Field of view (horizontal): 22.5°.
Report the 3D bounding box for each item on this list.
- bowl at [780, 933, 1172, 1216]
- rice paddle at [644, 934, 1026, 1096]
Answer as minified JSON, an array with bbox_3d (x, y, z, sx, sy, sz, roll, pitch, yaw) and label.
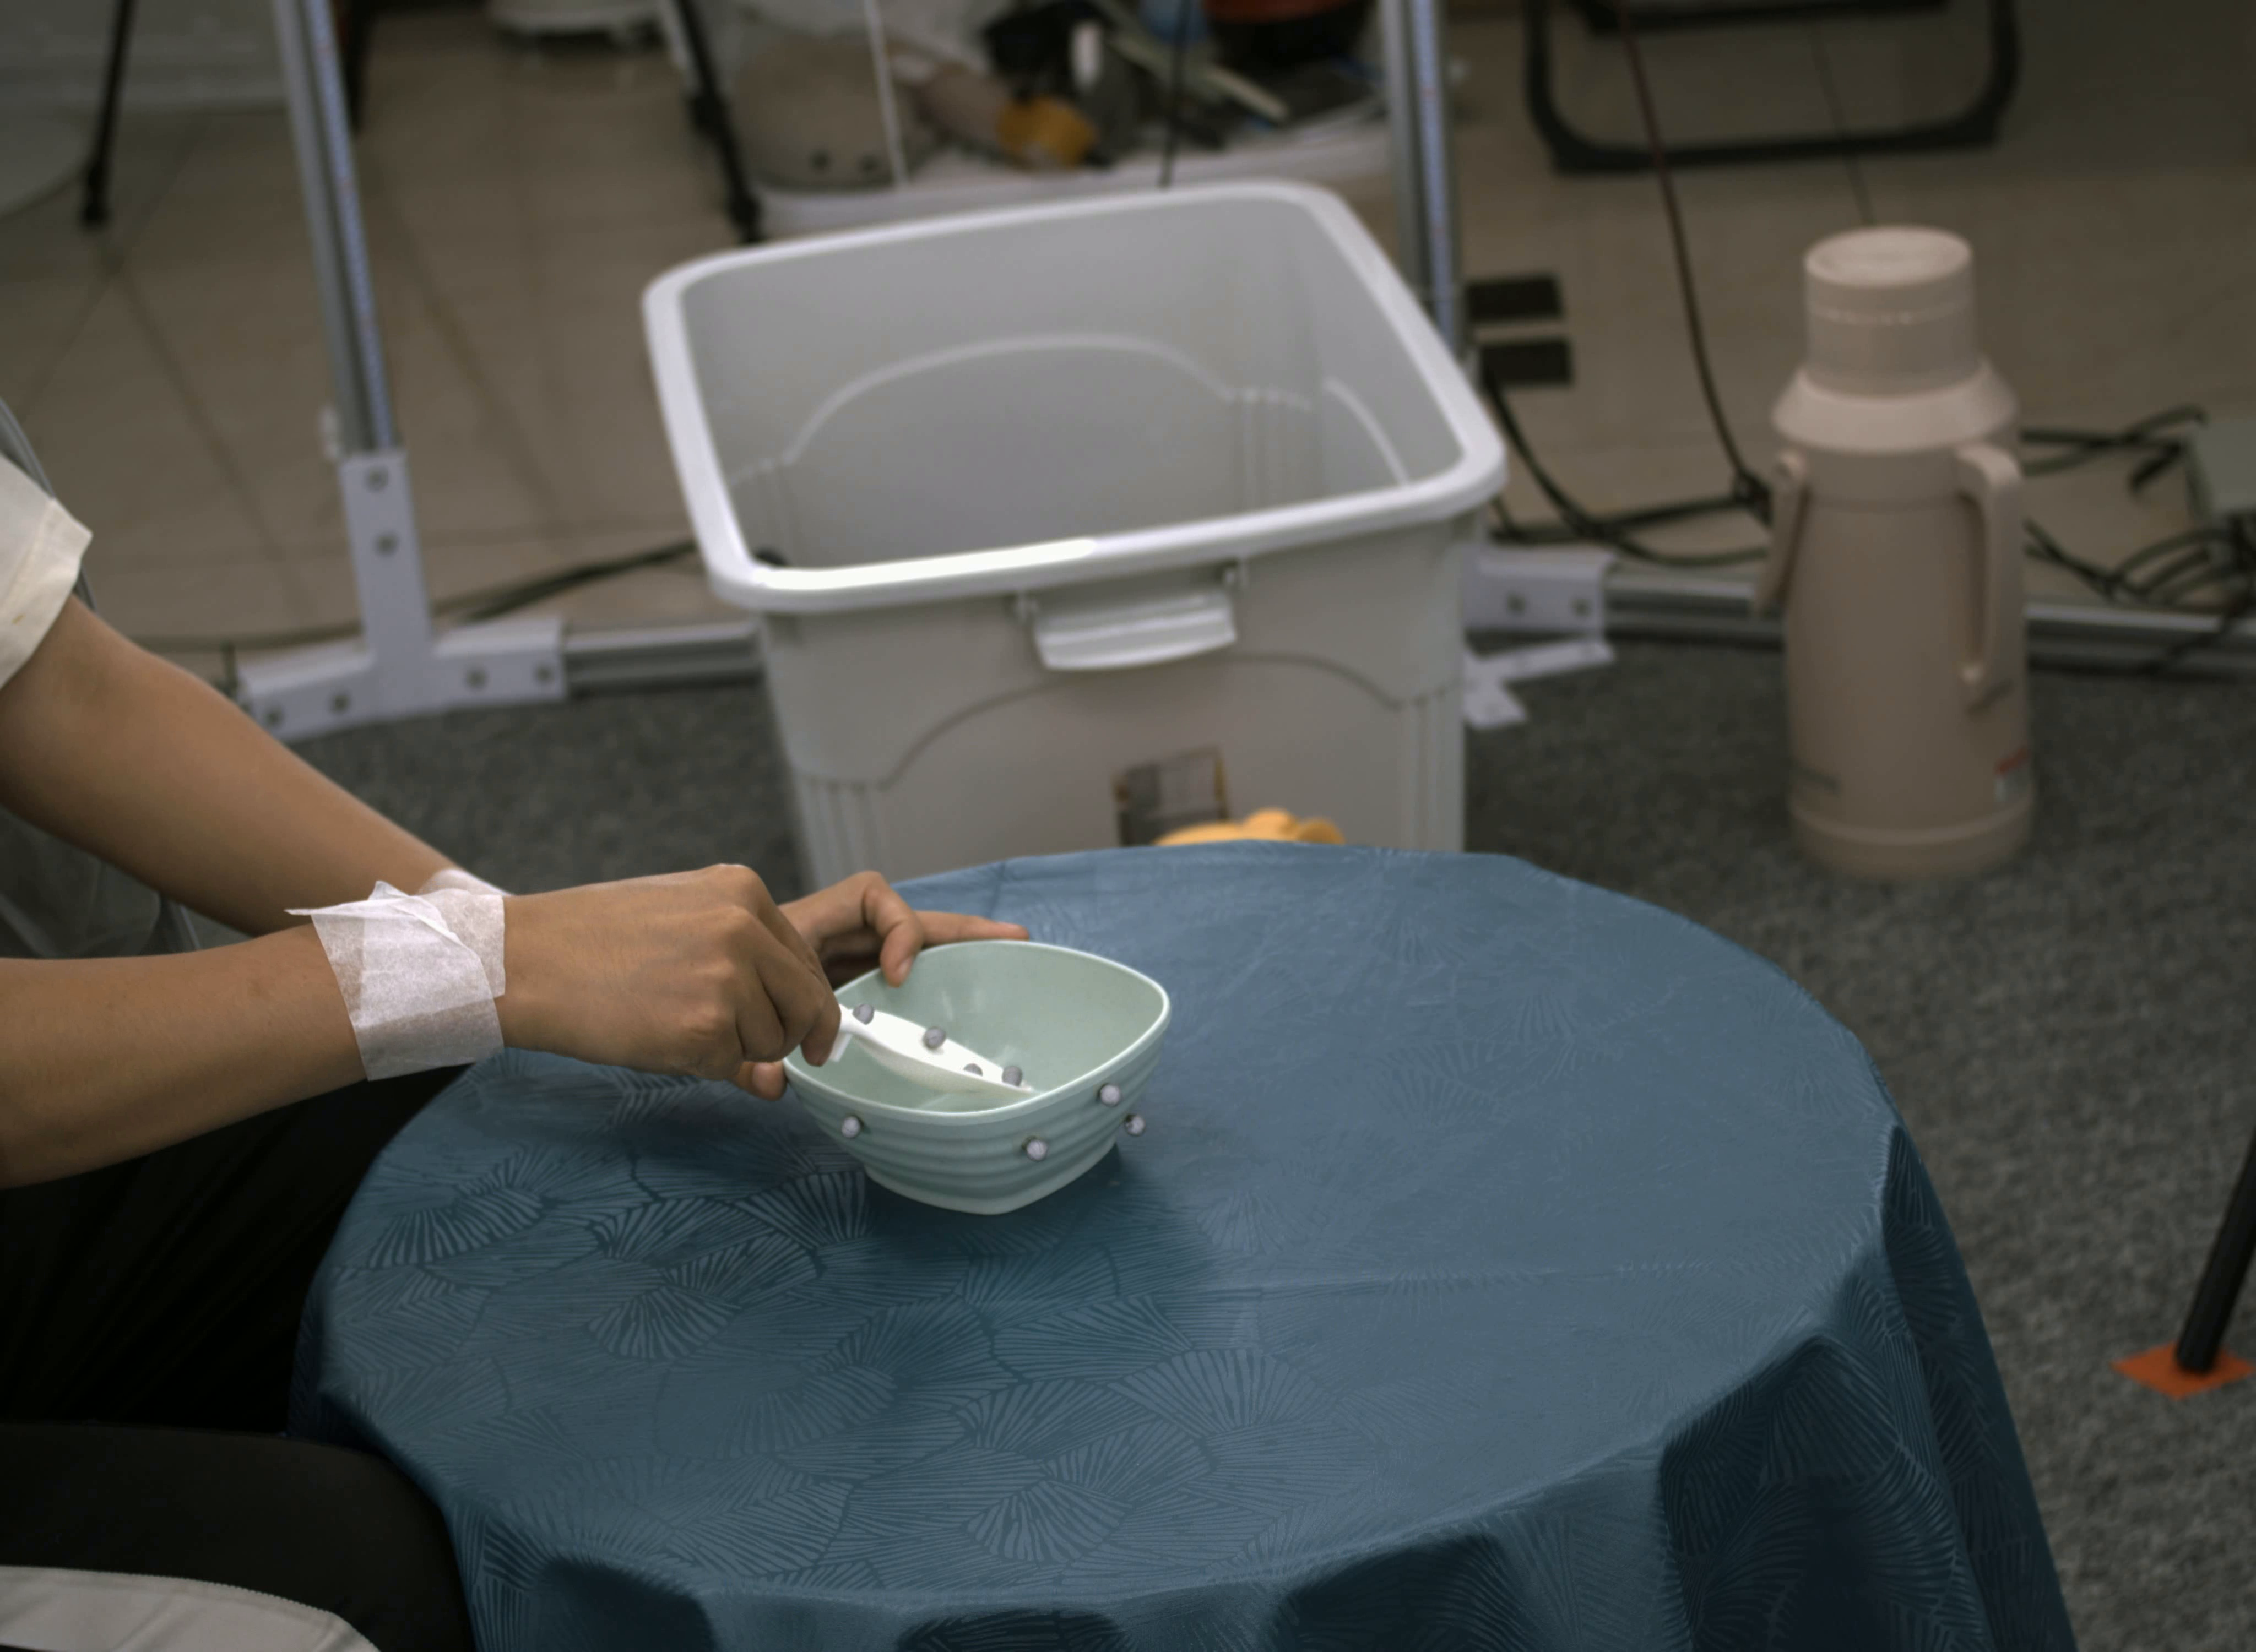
[{"bbox_3d":[-0.056,0.101,2.179,0.151,0.059,0.149,-4,27,2],"label":"bowl"},{"bbox_3d":[-0.106,0.073,2.121,0.068,0.029,0.206,30,6,35],"label":"rice paddle"}]
